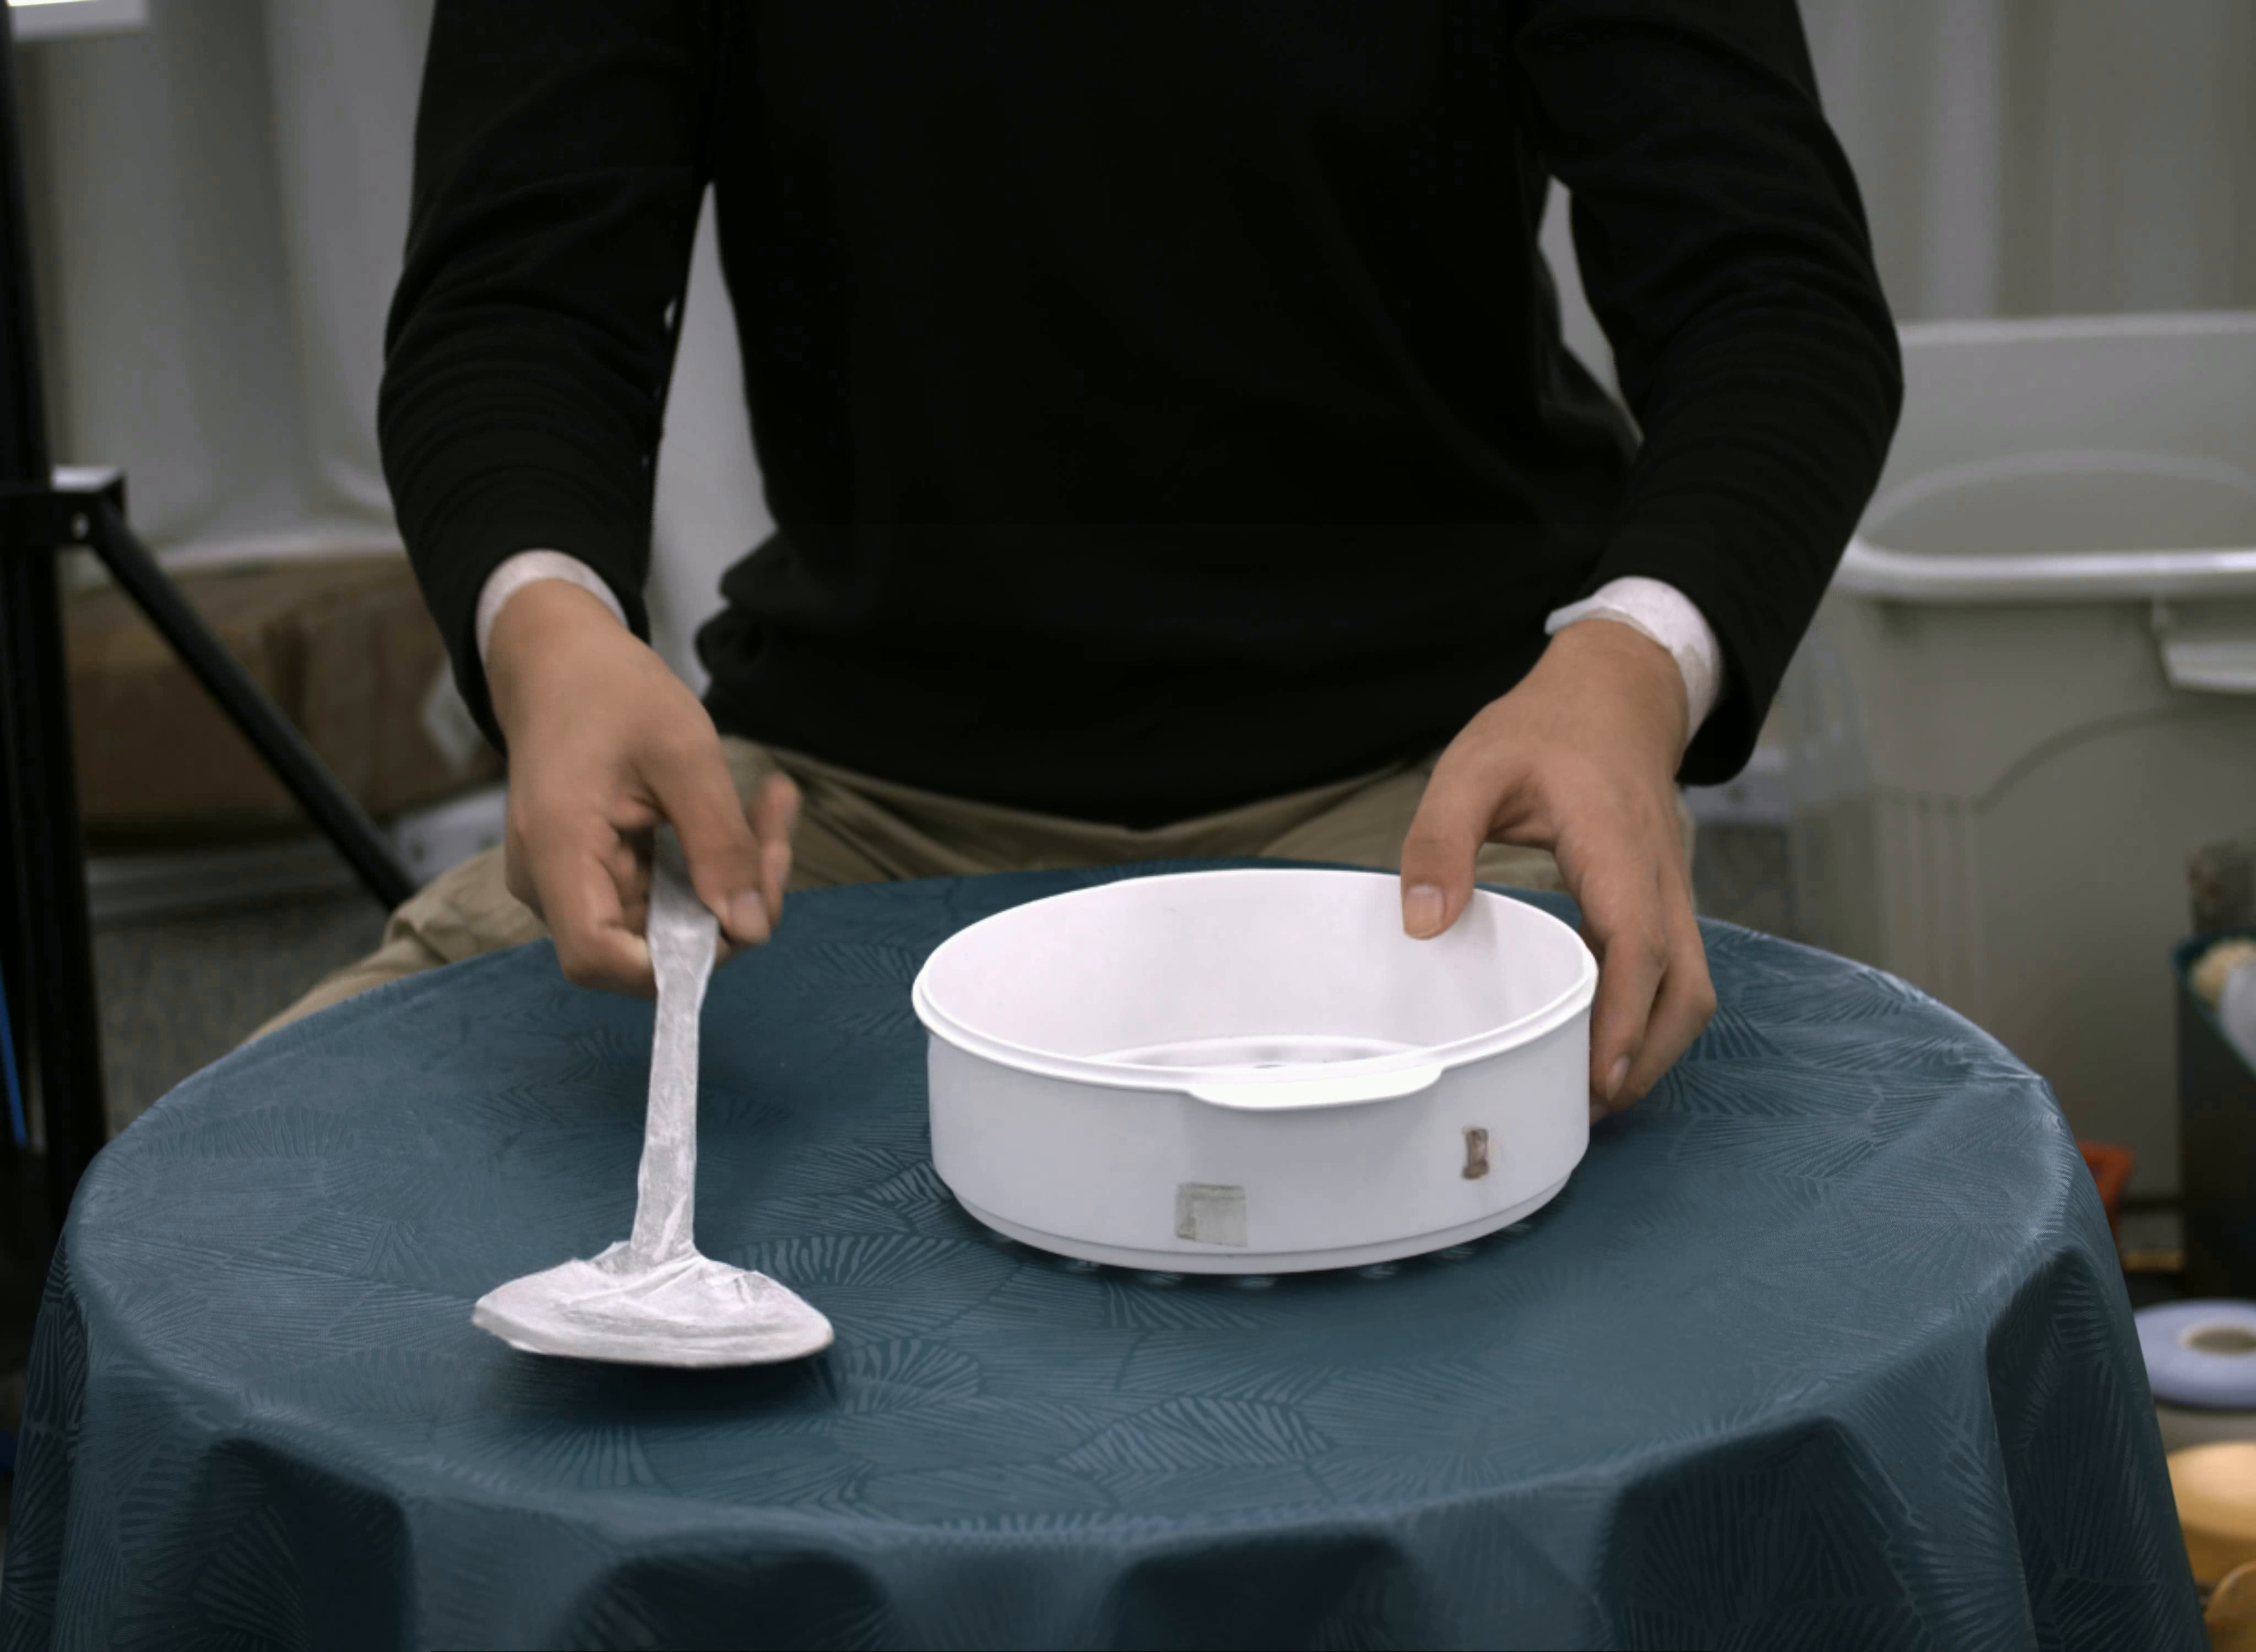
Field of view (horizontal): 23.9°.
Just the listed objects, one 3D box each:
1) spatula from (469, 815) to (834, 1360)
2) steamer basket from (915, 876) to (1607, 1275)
[{"bbox_3d":[-0.128,0.067,1.564,0.098,0.044,0.367,0,29,0],"label":"spatula"},{"bbox_3d":[0.039,0.072,1.549,0.200,0.069,0.233,-3,15,-6],"label":"steamer basket"}]
